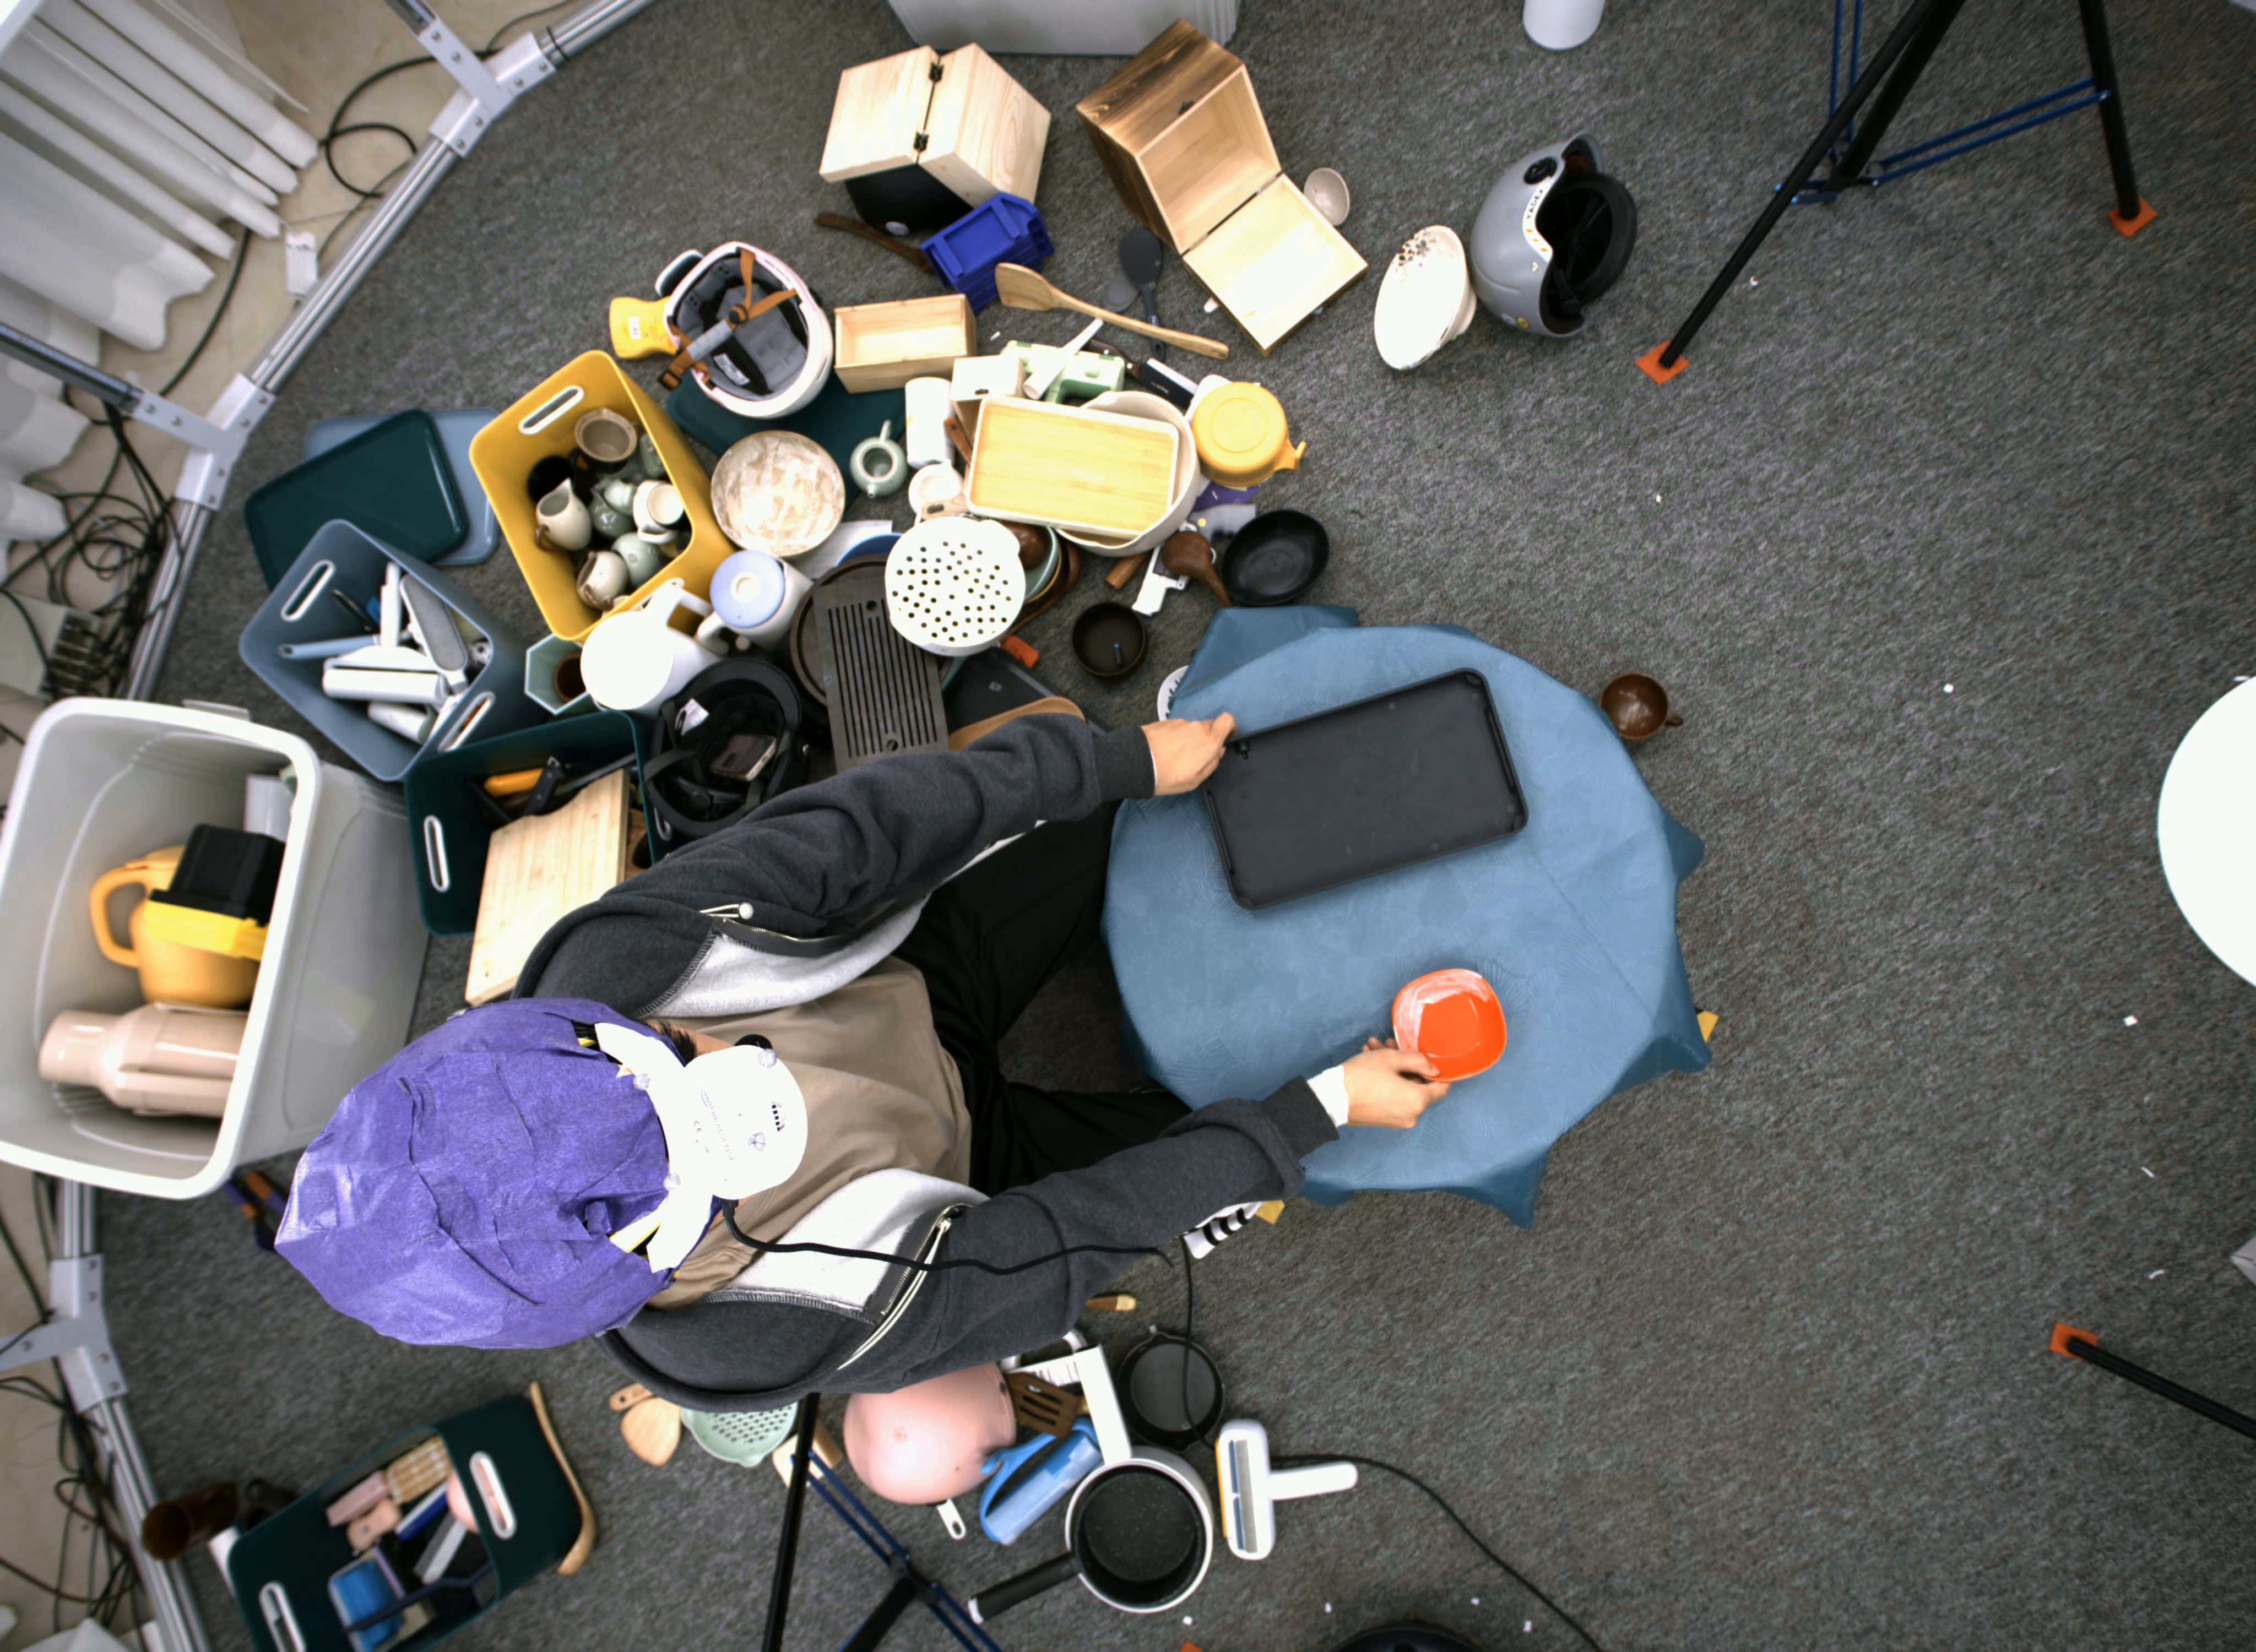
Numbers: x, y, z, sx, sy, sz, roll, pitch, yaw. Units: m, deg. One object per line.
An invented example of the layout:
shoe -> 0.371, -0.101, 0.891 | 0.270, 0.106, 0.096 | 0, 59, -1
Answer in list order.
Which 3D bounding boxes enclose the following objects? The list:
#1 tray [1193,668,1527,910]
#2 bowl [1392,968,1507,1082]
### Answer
tray -> 0.241, -0.038, 1.451 | 0.319, 0.037, 0.183 | -16, 85, 8
bowl -> 0.327, 0.201, 1.413 | 0.119, 0.051, 0.118 | -1, 85, 9
